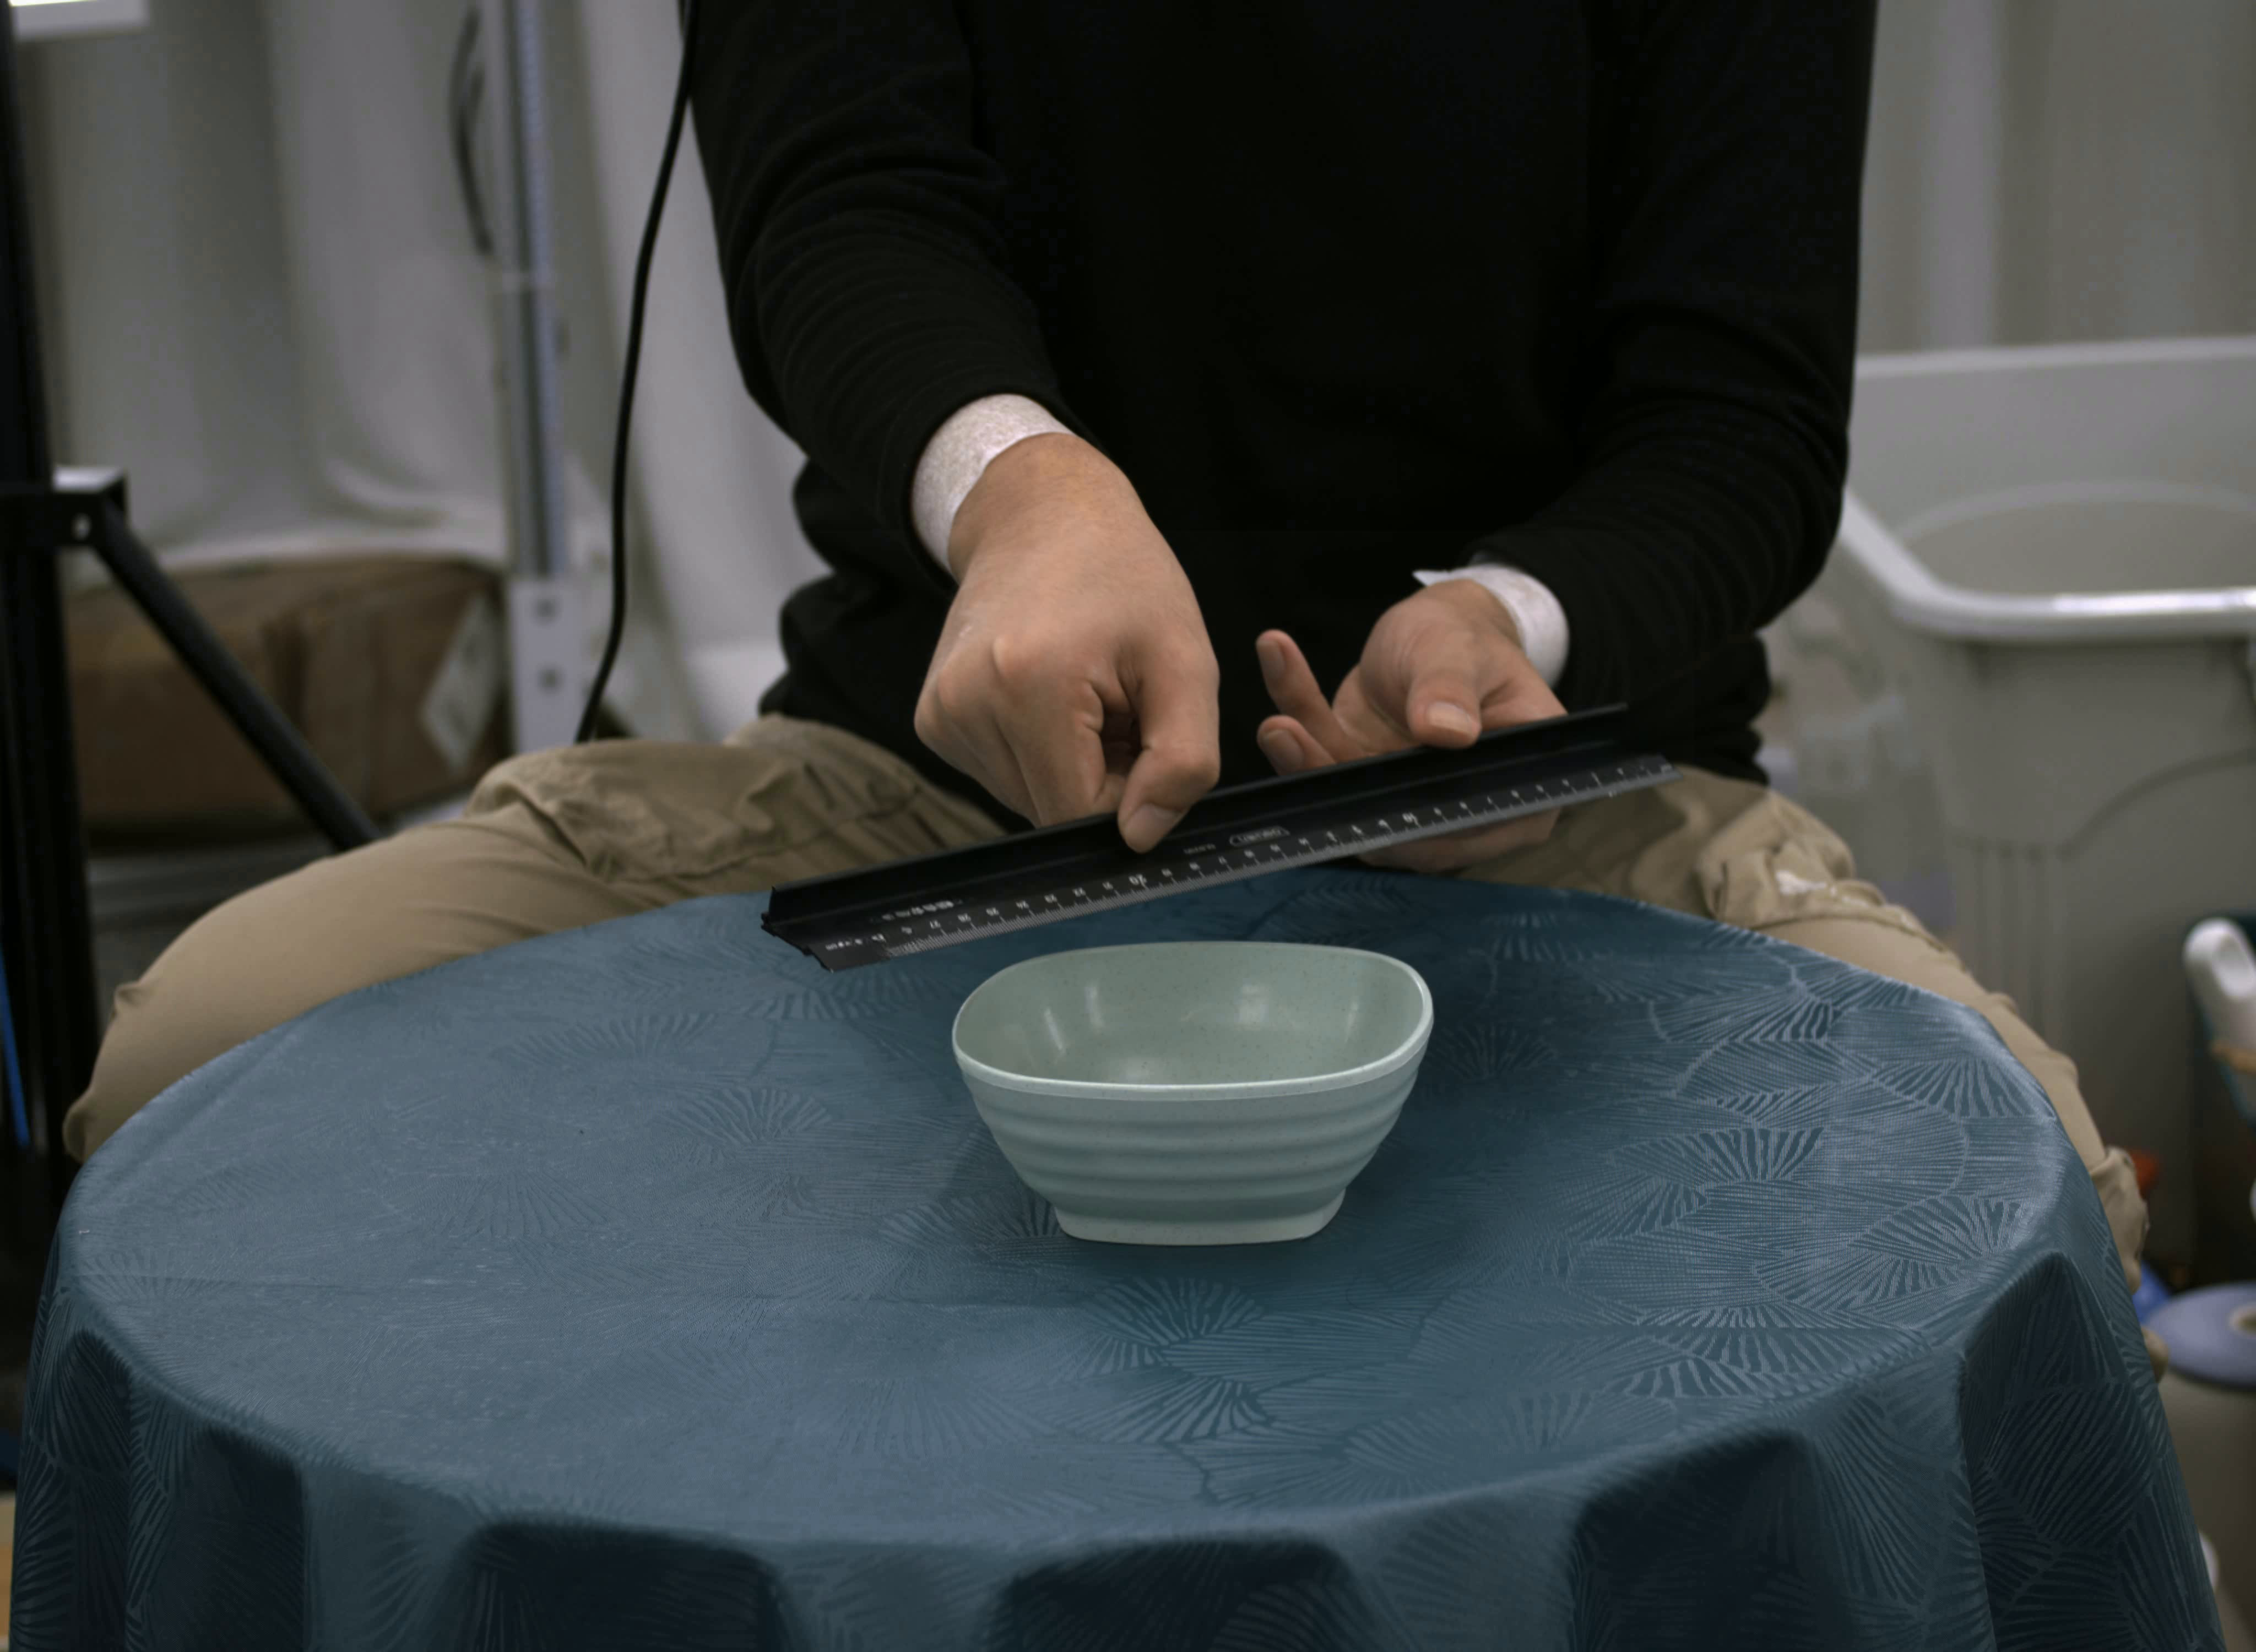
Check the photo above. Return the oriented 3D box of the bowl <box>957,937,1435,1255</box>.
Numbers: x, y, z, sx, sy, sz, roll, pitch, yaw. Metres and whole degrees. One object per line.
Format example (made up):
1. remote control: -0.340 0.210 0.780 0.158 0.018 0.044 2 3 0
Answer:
1. bowl: 0.021 0.082 1.545 0.151 0.058 0.152 -4 17 0

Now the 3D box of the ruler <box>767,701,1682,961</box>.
1. ruler: 0.035 0.000 1.570 0.305 0.017 0.040 -12 28 -31
